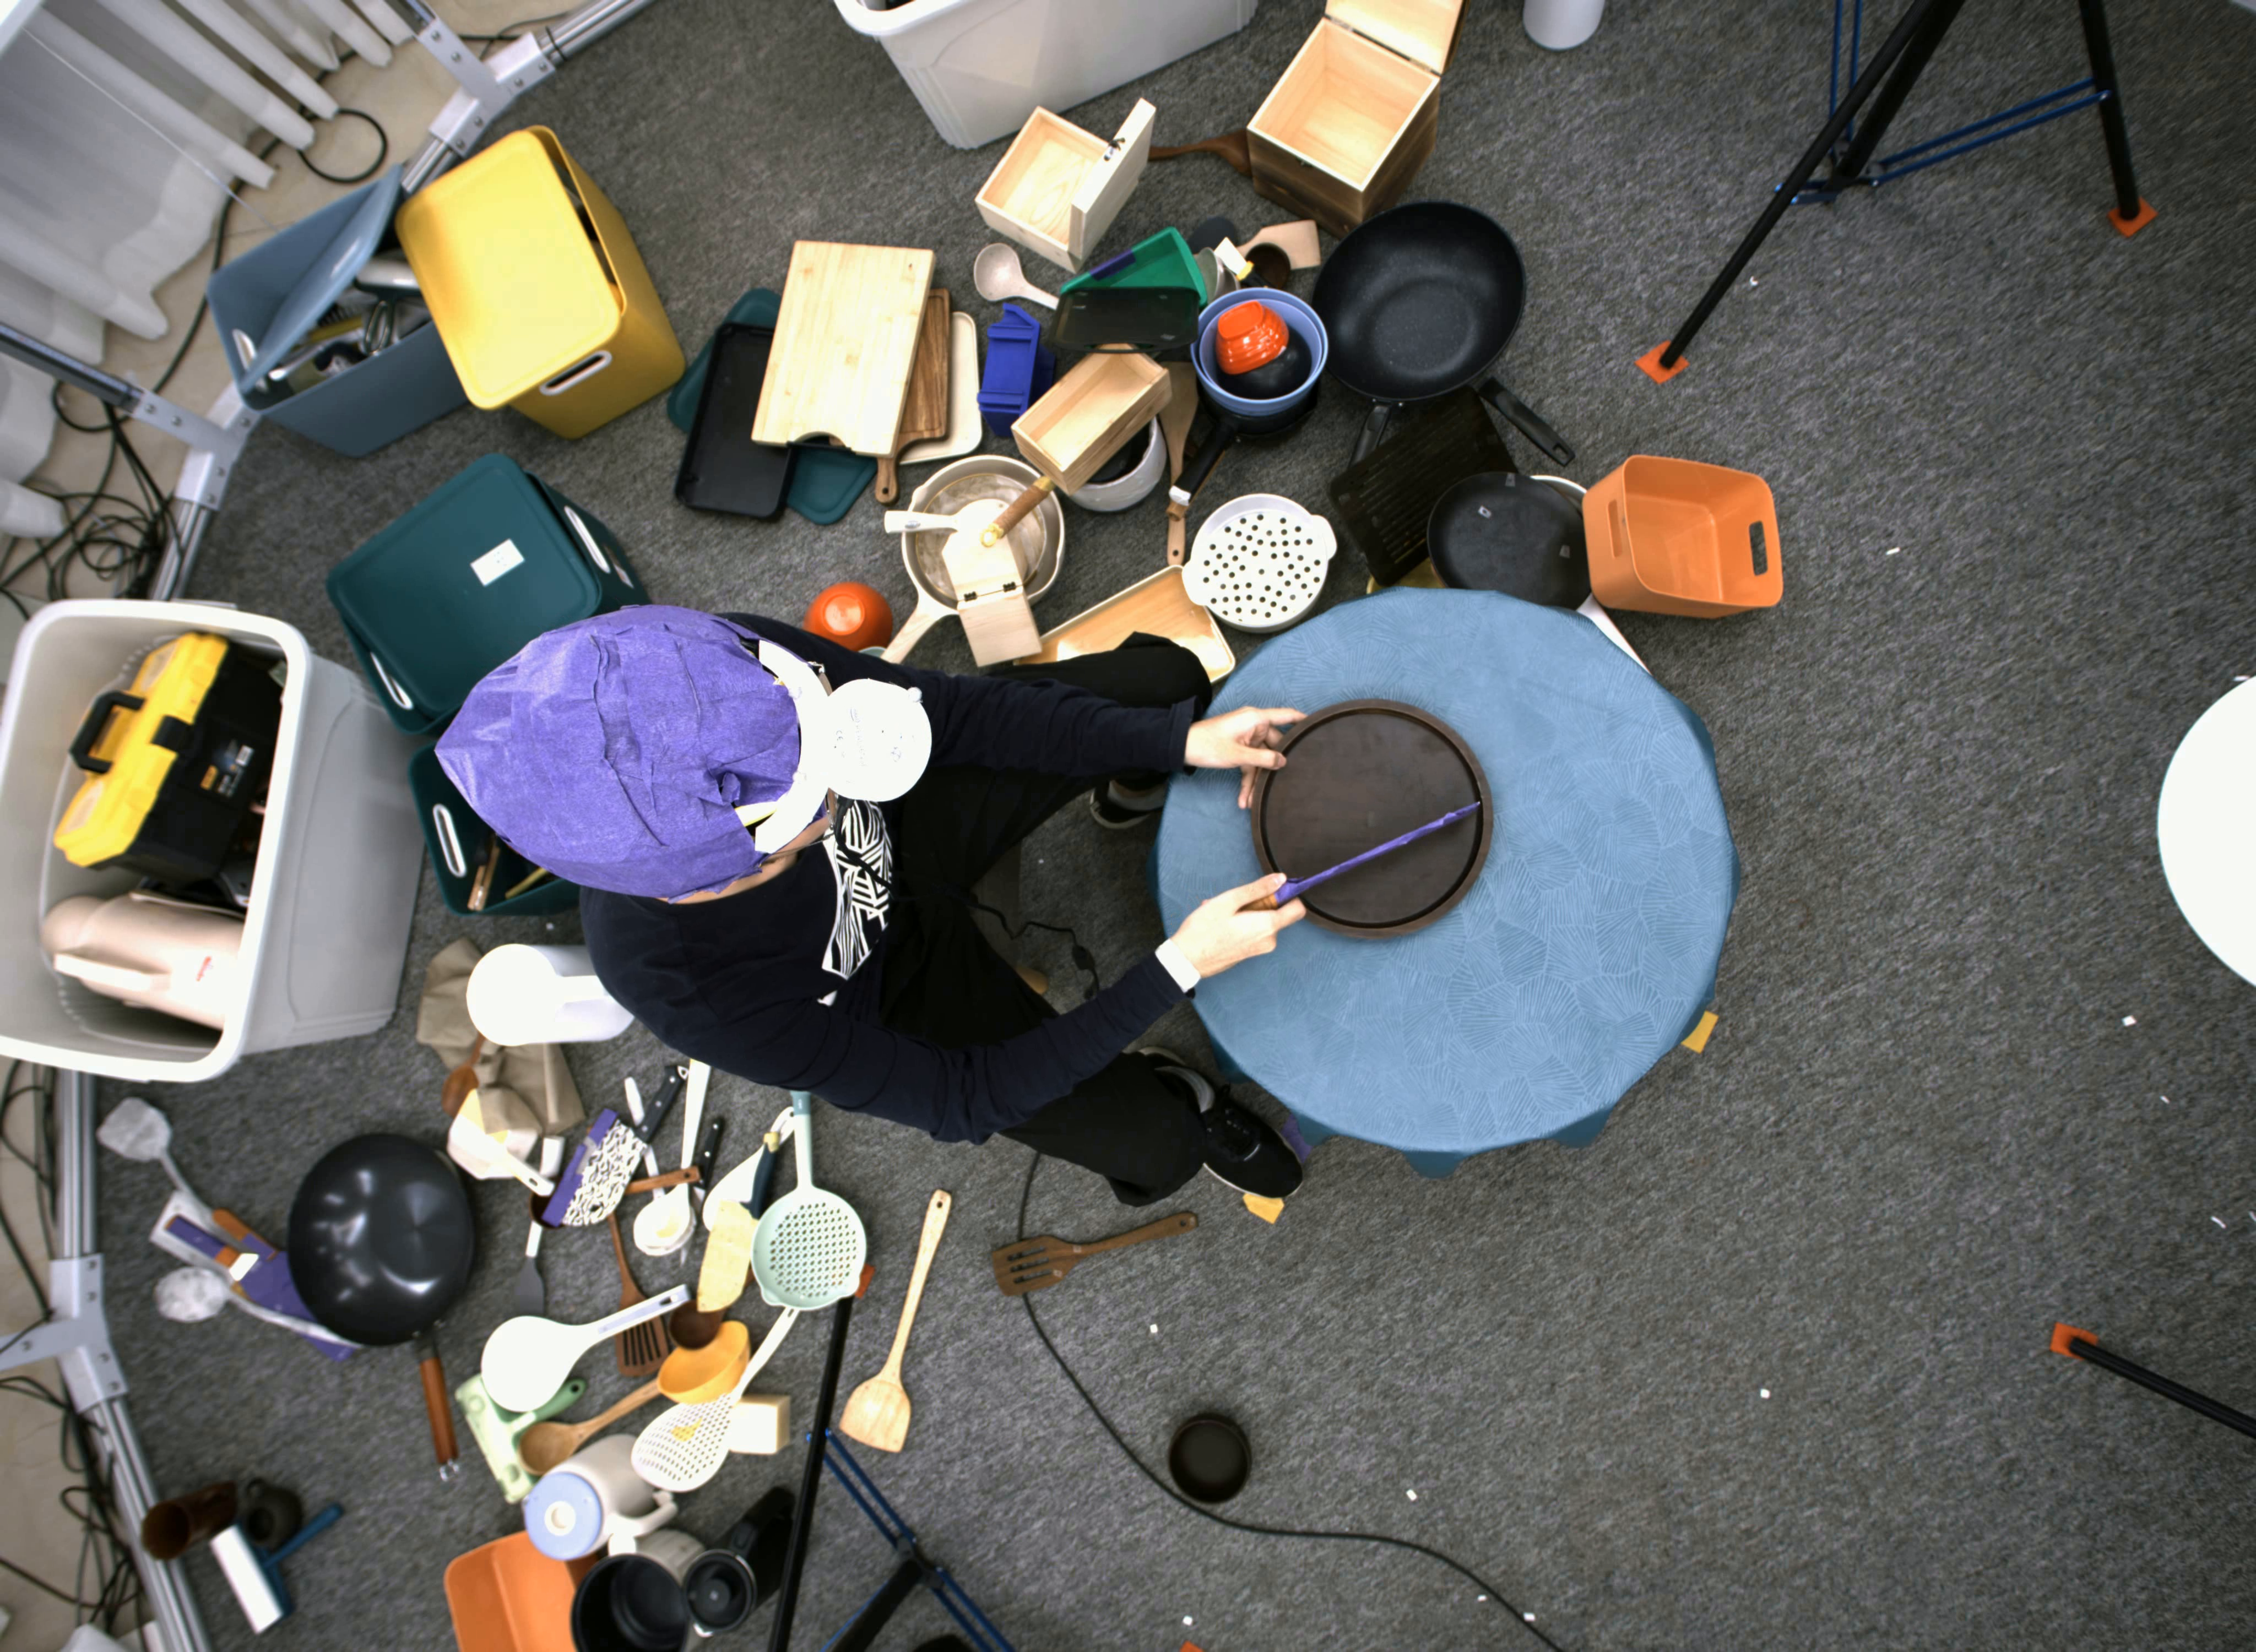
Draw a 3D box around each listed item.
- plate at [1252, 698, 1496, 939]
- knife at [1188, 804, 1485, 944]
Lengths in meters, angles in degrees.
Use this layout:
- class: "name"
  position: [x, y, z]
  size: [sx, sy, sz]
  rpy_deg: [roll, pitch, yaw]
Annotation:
- class: "plate"
  position: [0.256, -0.009, 1.448]
  size: [0.255, 0.029, 0.254]
  rpy_deg: [0, 89, 7]
- class: "knife"
  position: [0.214, 0.048, 1.402]
  size: [0.317, 0.104, 0.032]
  rpy_deg: [-23, 80, 7]
